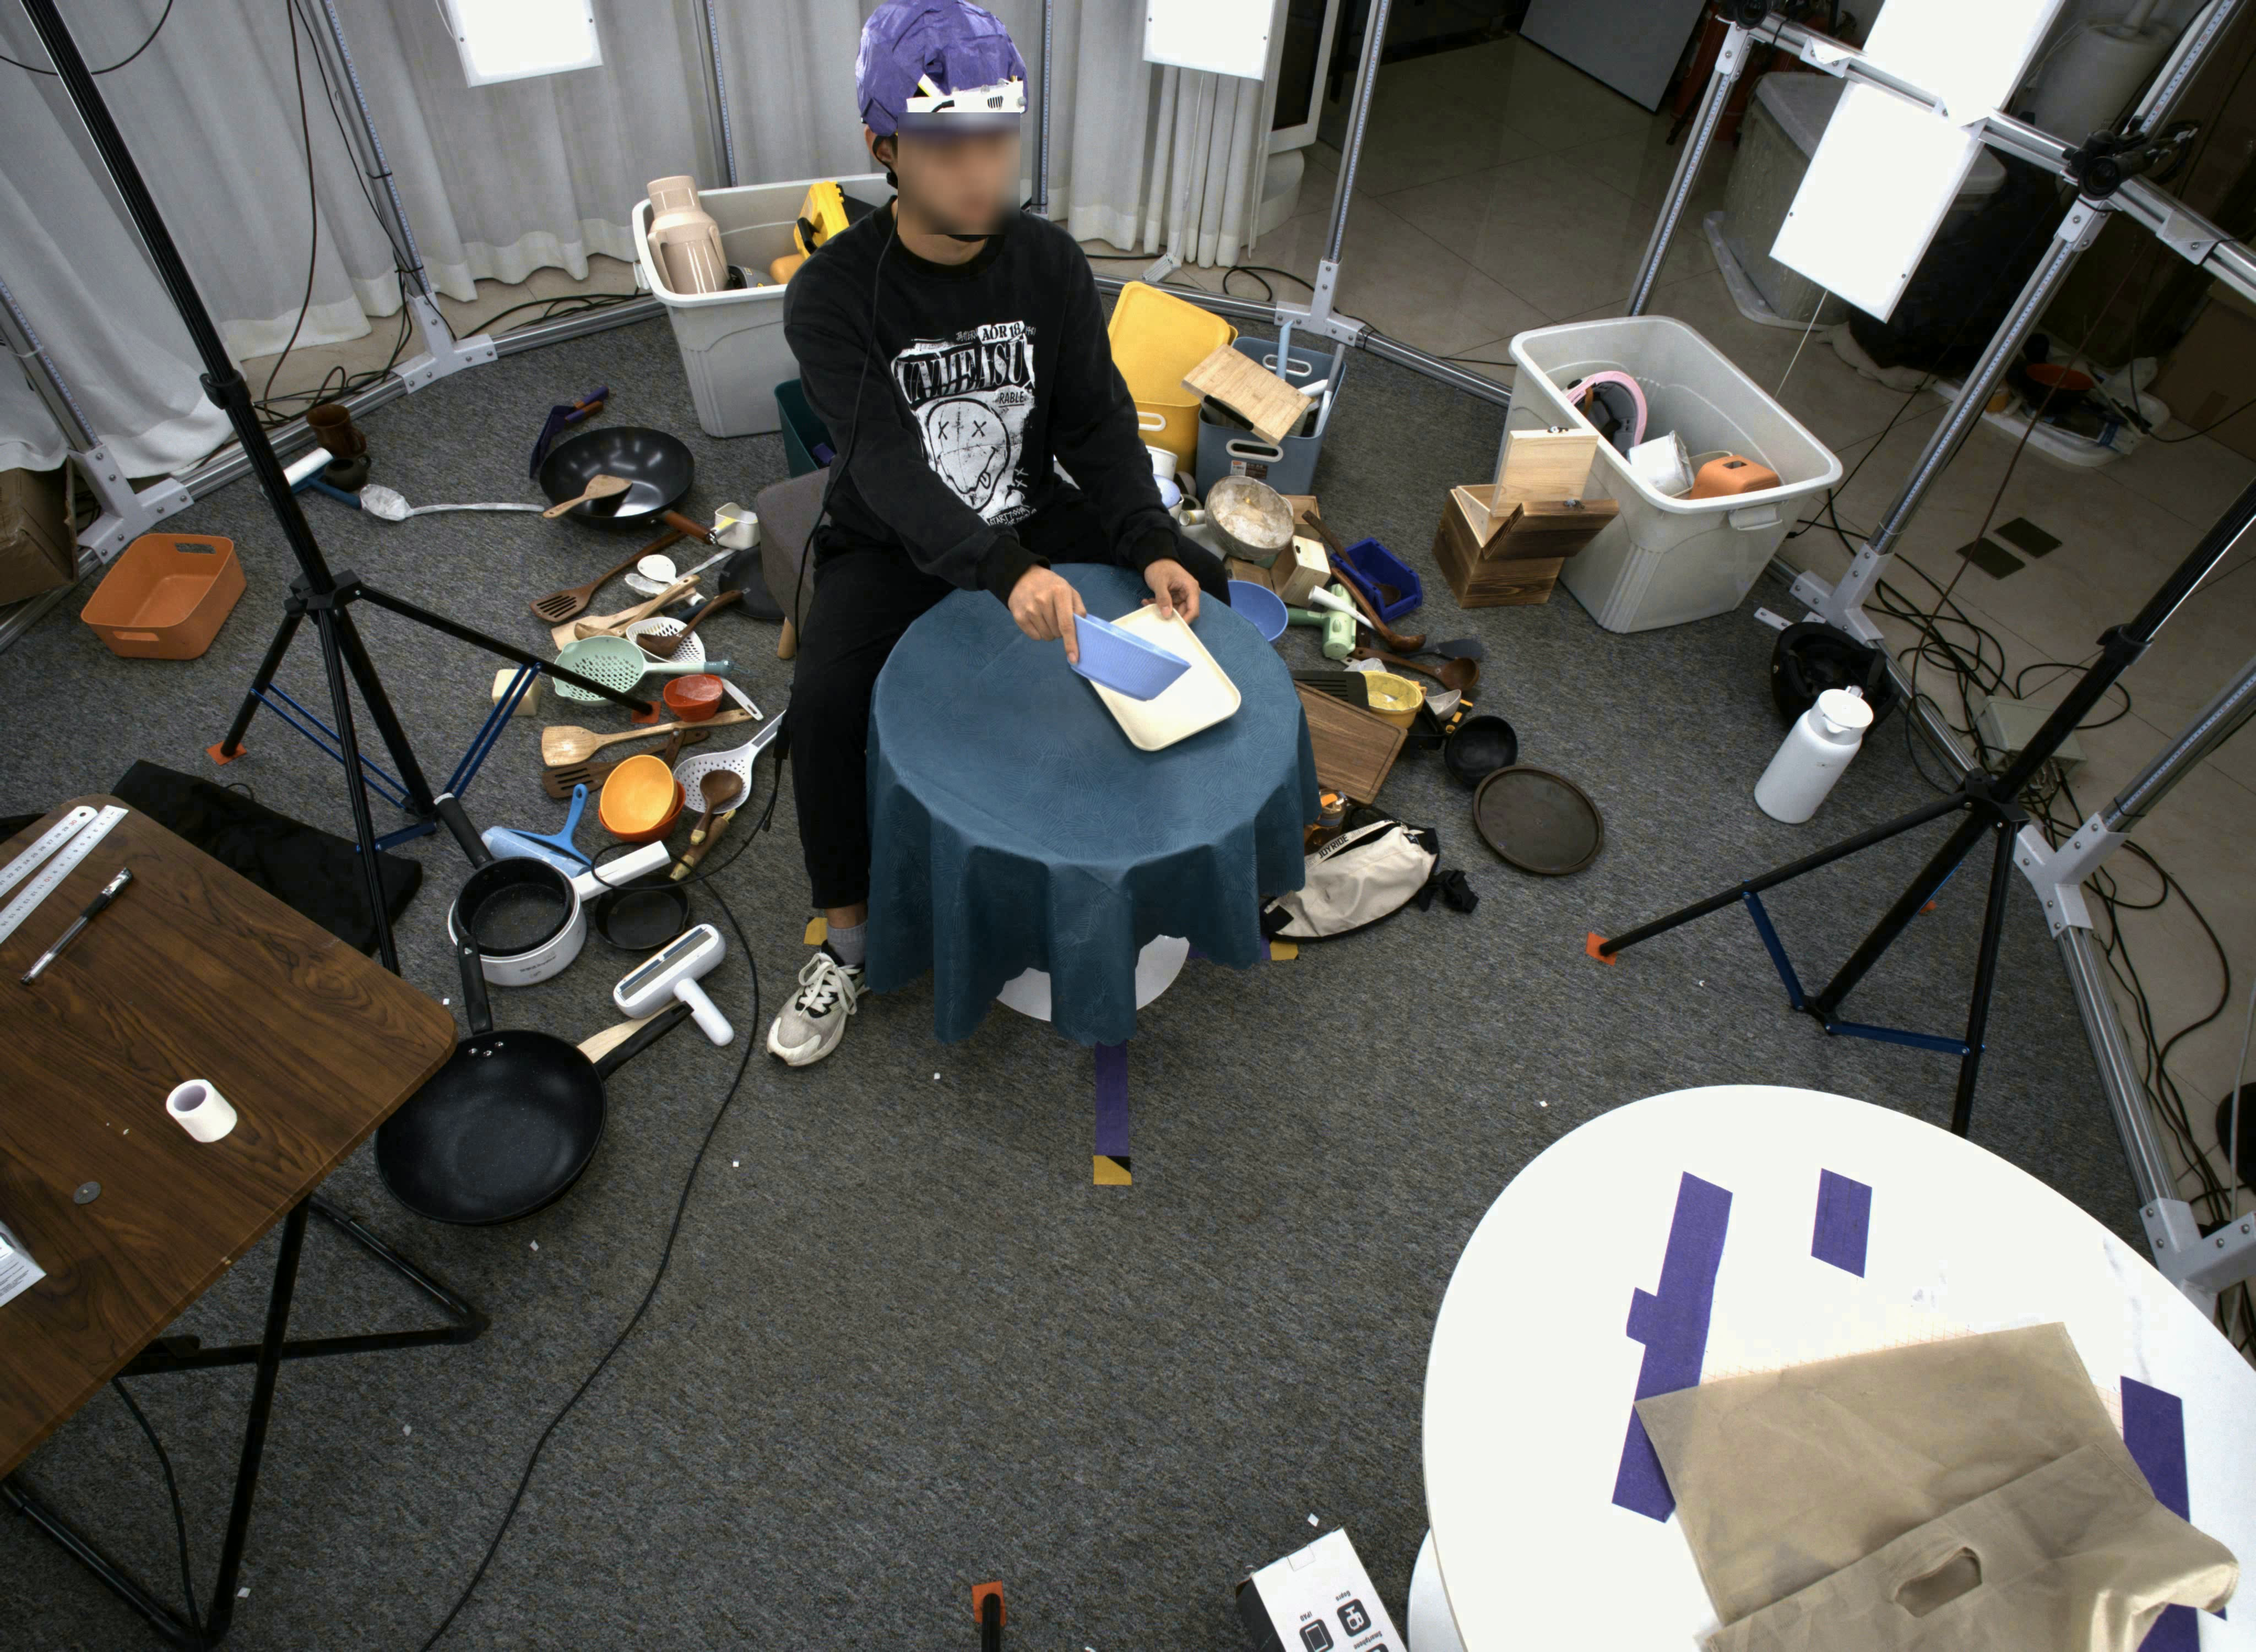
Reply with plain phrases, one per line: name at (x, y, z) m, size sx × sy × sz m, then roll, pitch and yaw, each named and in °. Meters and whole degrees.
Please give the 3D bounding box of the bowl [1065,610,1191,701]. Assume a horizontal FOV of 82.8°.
bowl at (-0.012, -0.215, 1.655) m, size 0.175 × 0.070 × 0.177 m, roll 23°, pitch 11°, yaw -5°

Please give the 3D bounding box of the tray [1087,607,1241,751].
tray at (0.040, -0.213, 1.844) m, size 0.171 × 0.017 × 0.245 m, roll -25°, pitch 56°, yaw -13°
